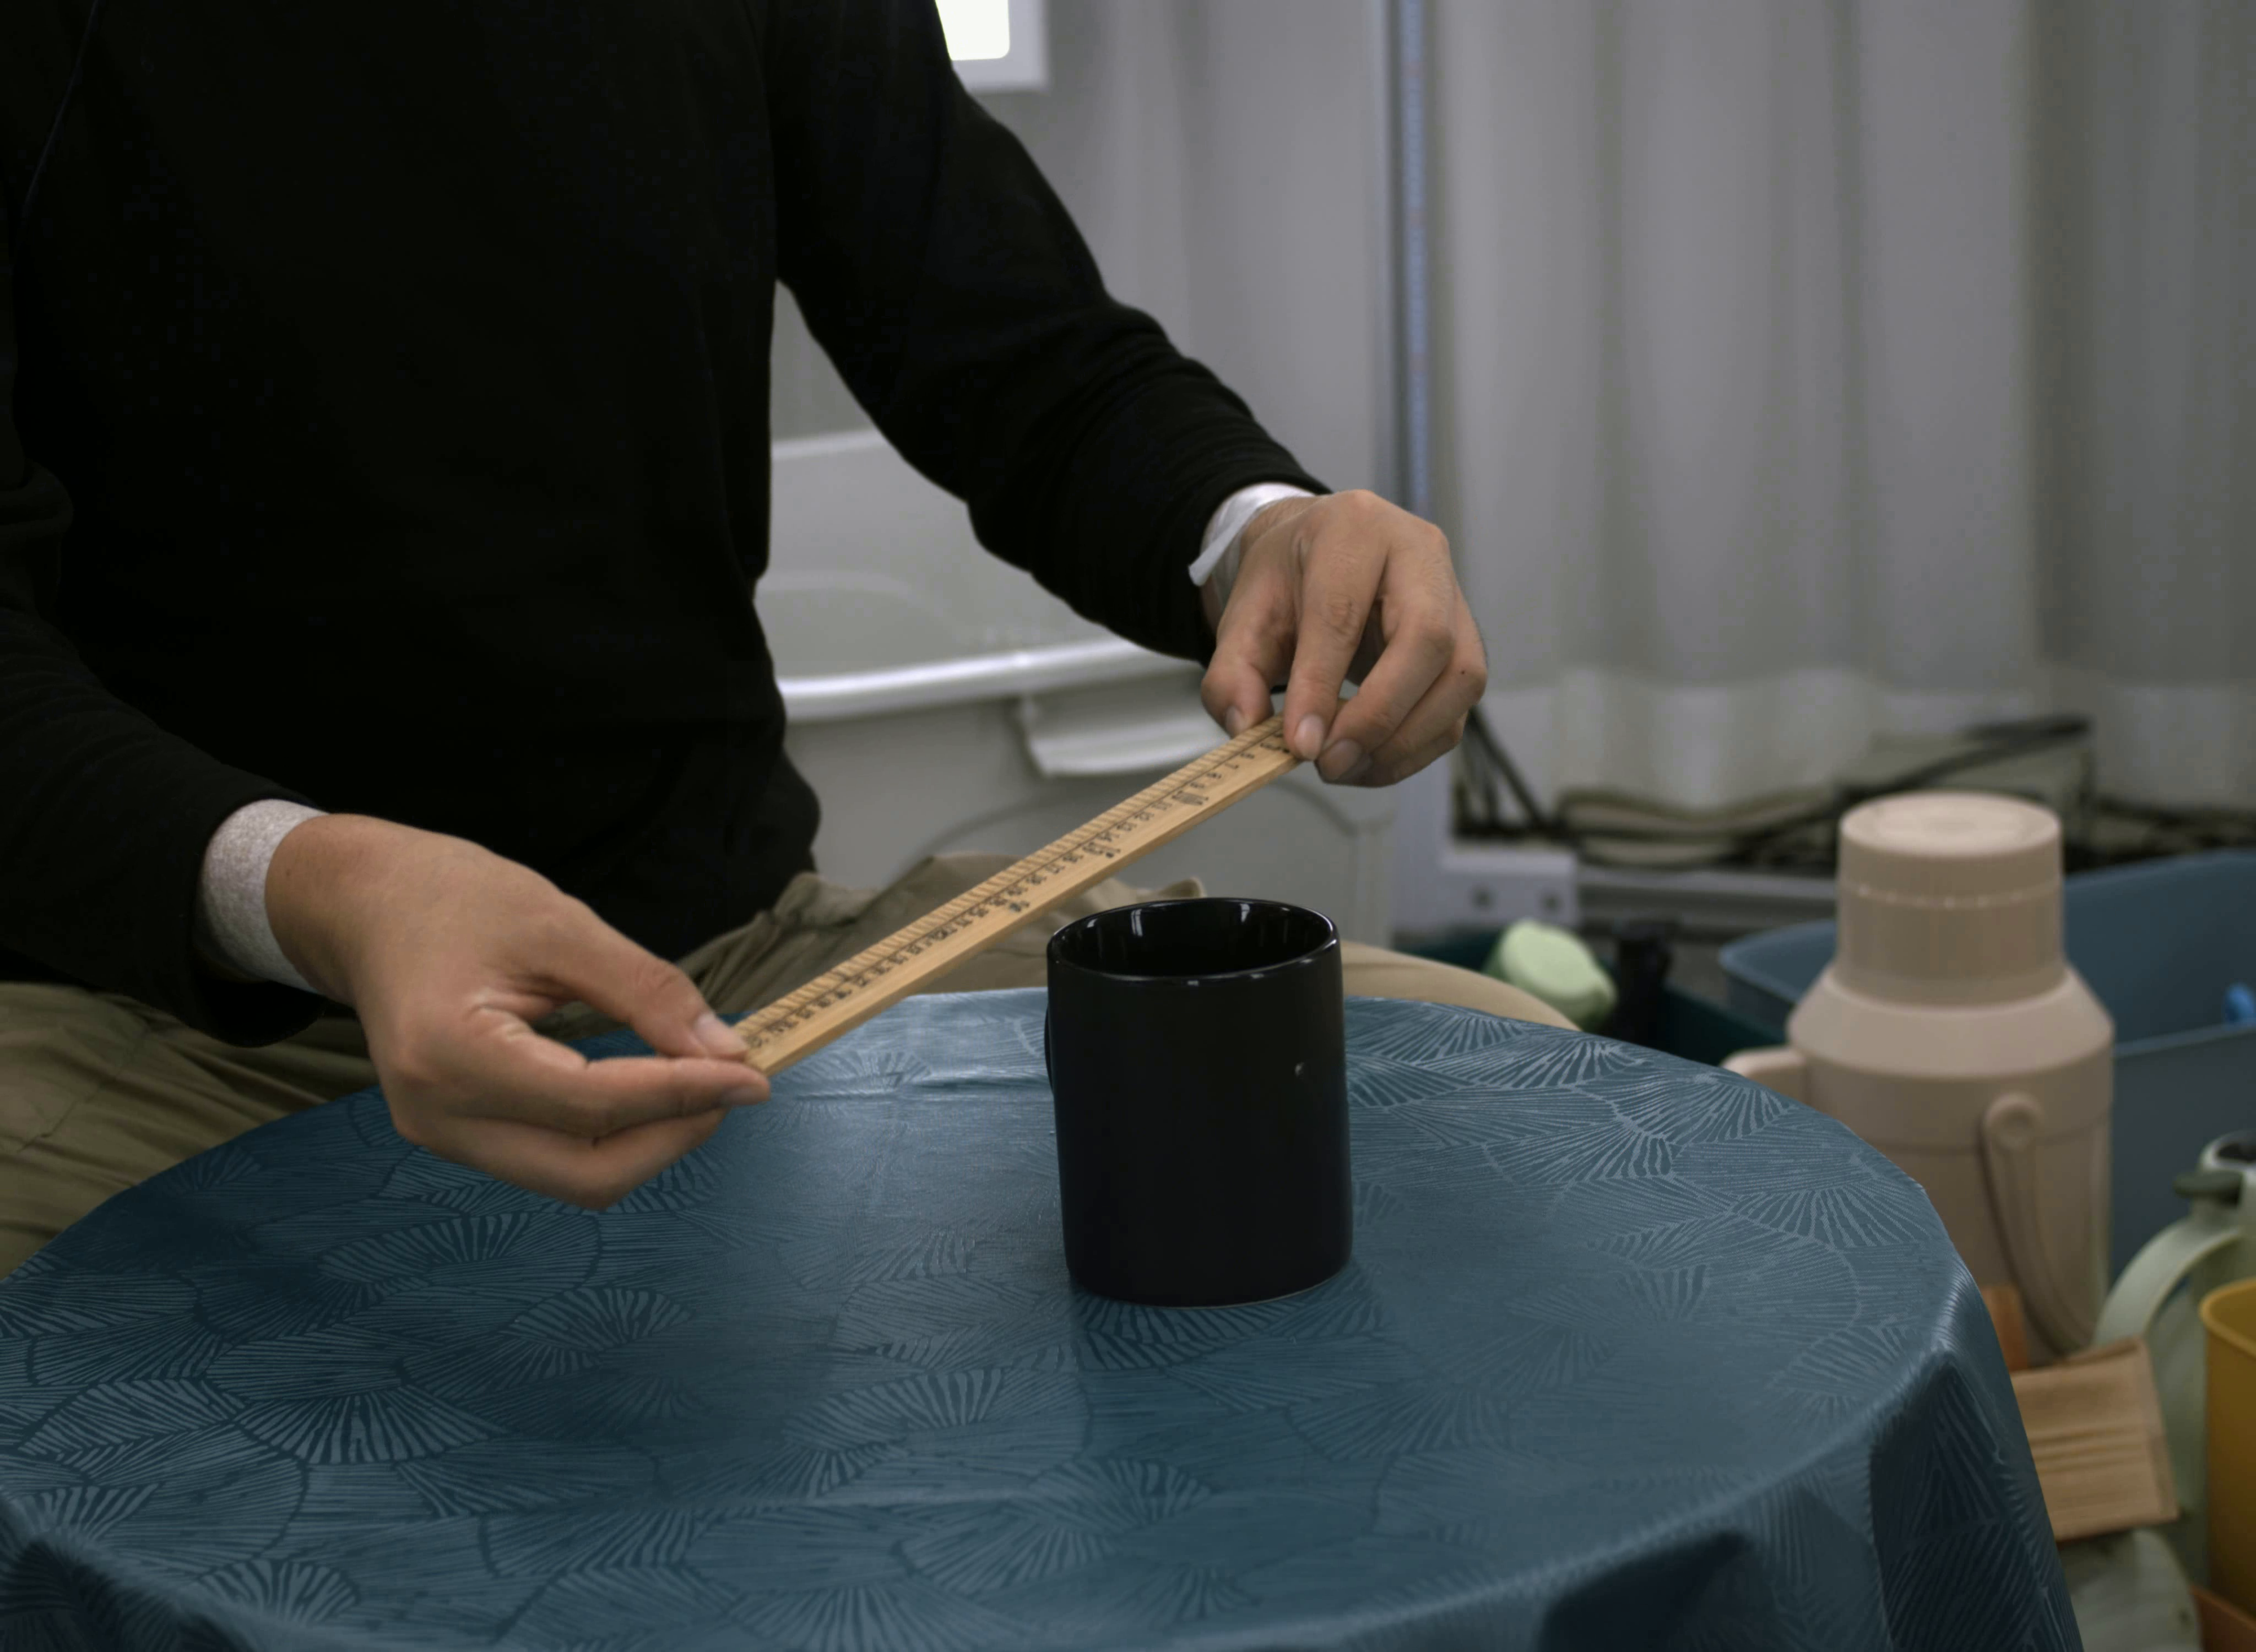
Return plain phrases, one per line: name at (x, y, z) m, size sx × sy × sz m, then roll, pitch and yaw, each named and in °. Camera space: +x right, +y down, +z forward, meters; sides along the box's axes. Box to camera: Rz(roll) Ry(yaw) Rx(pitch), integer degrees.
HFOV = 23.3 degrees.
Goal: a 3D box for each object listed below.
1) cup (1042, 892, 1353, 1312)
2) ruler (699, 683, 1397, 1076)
cup at (0.013, 0.078, 1.650) m, size 0.088 × 0.105 × 0.124 m, roll -13°, pitch 18°, yaw -28°
ruler at (-0.017, 0.009, 1.652) m, size 0.027 × 0.022 × 0.332 m, roll 19°, pitch 29°, yaw 30°
